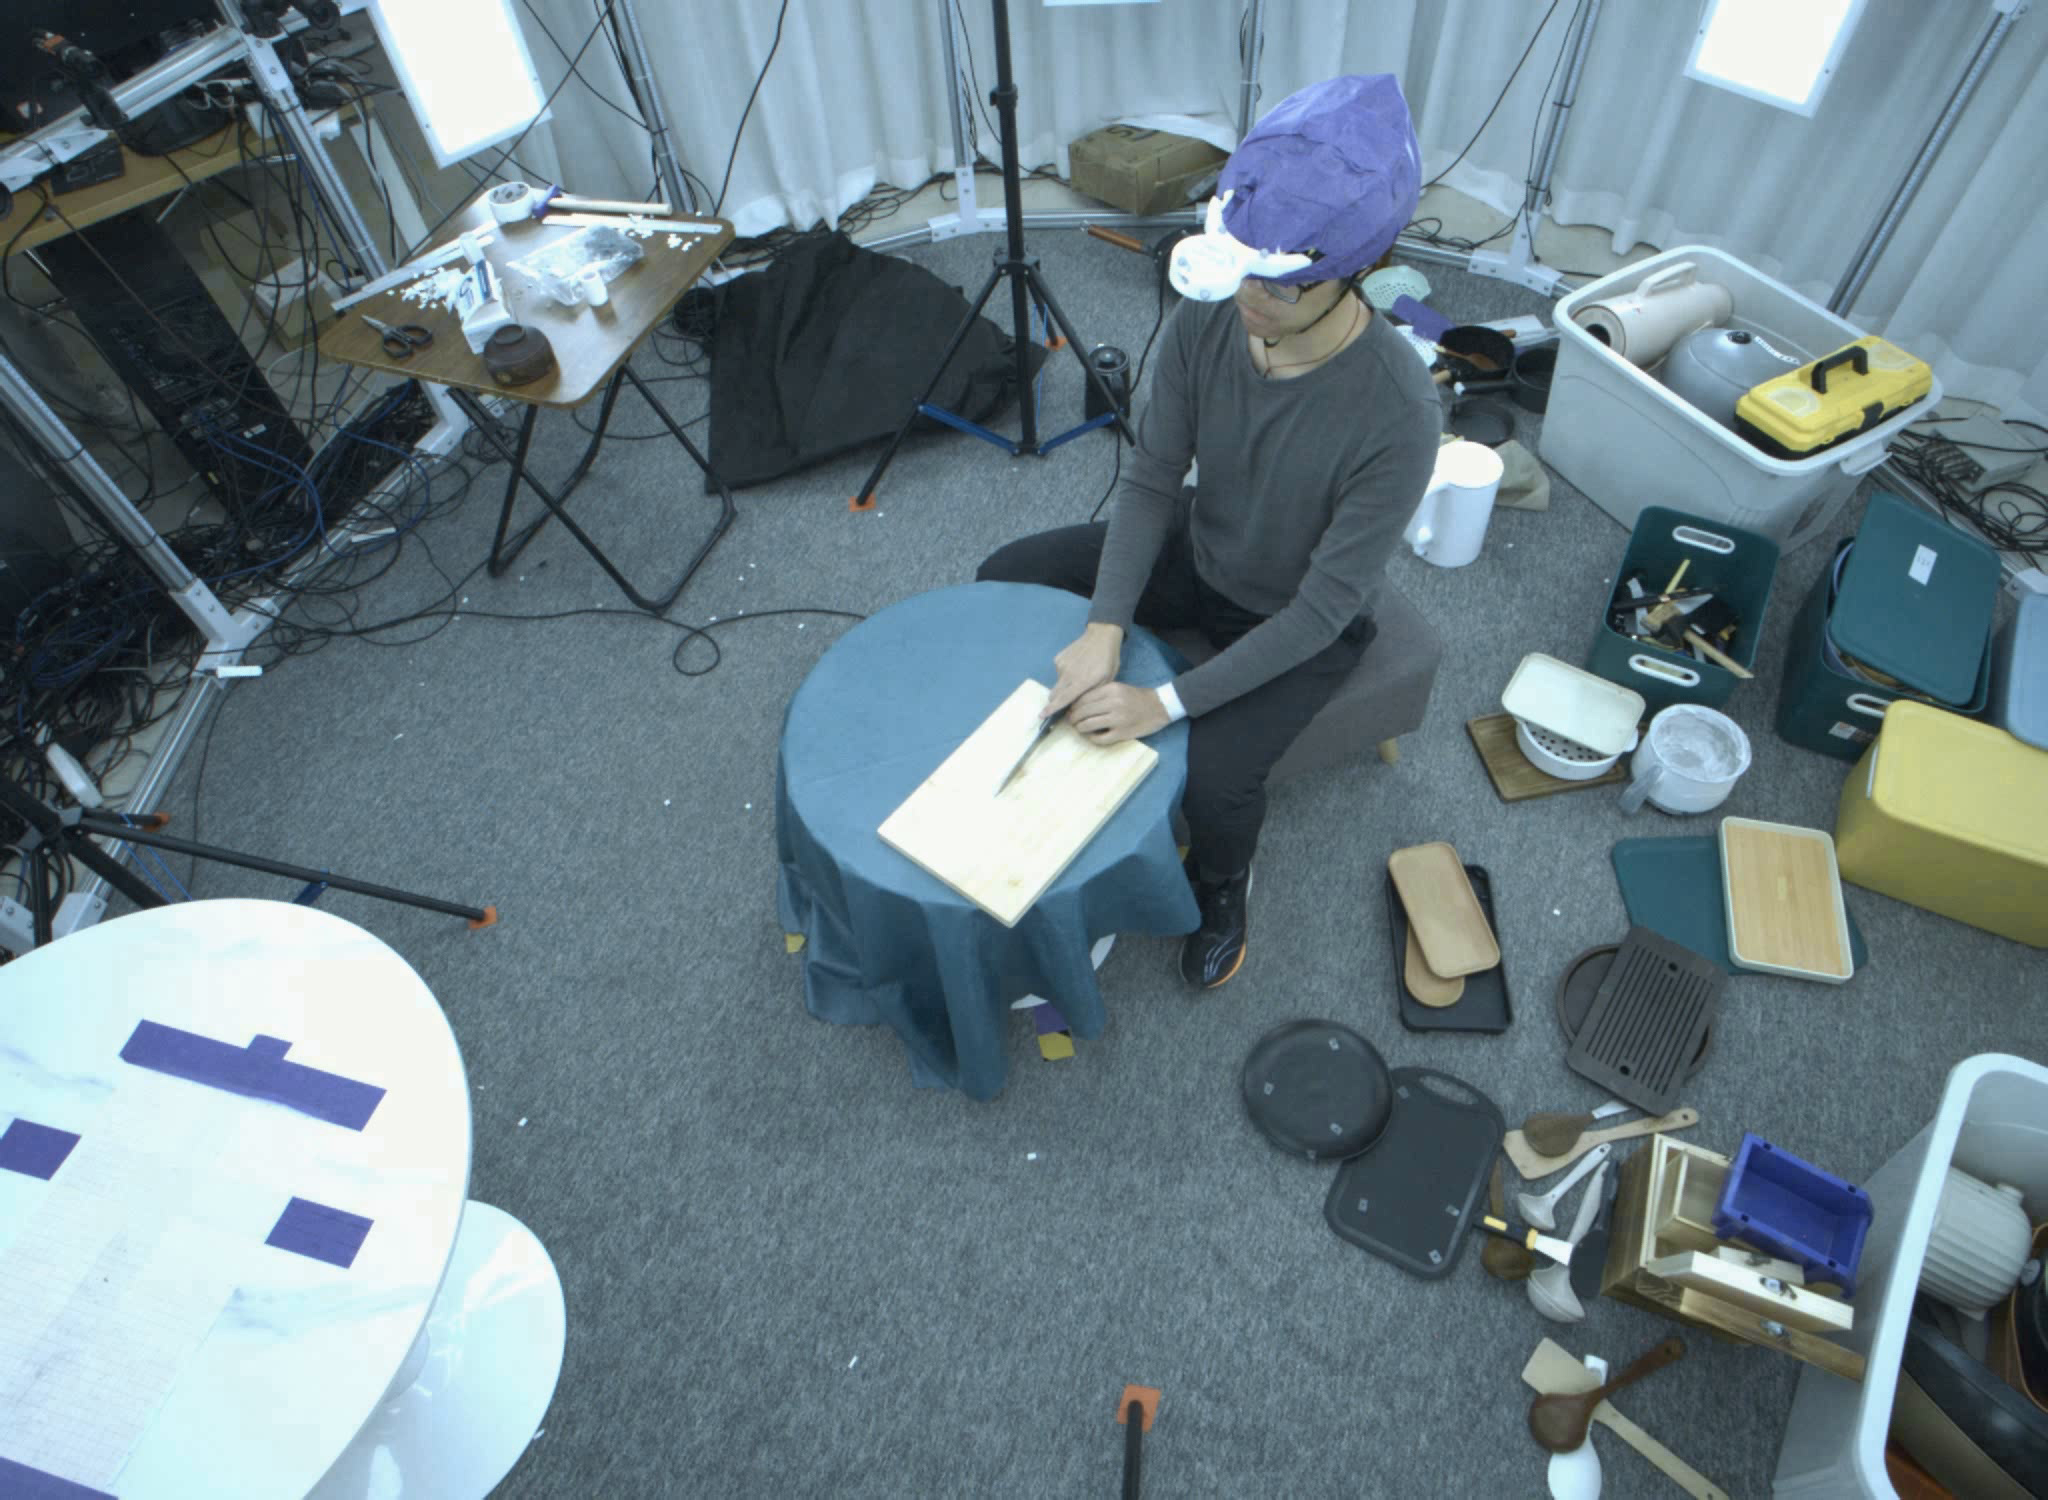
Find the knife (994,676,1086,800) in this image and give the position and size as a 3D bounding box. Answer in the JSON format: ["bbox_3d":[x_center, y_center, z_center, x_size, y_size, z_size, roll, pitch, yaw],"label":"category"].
[{"bbox_3d":[0.022,-0.021,1.767,0.016,0.025,0.239,24,63,25],"label":"knife"}]

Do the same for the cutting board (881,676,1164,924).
[{"bbox_3d":[-0.001,0.060,1.743,0.247,0.024,0.350,31,61,21],"label":"cutting board"}]
